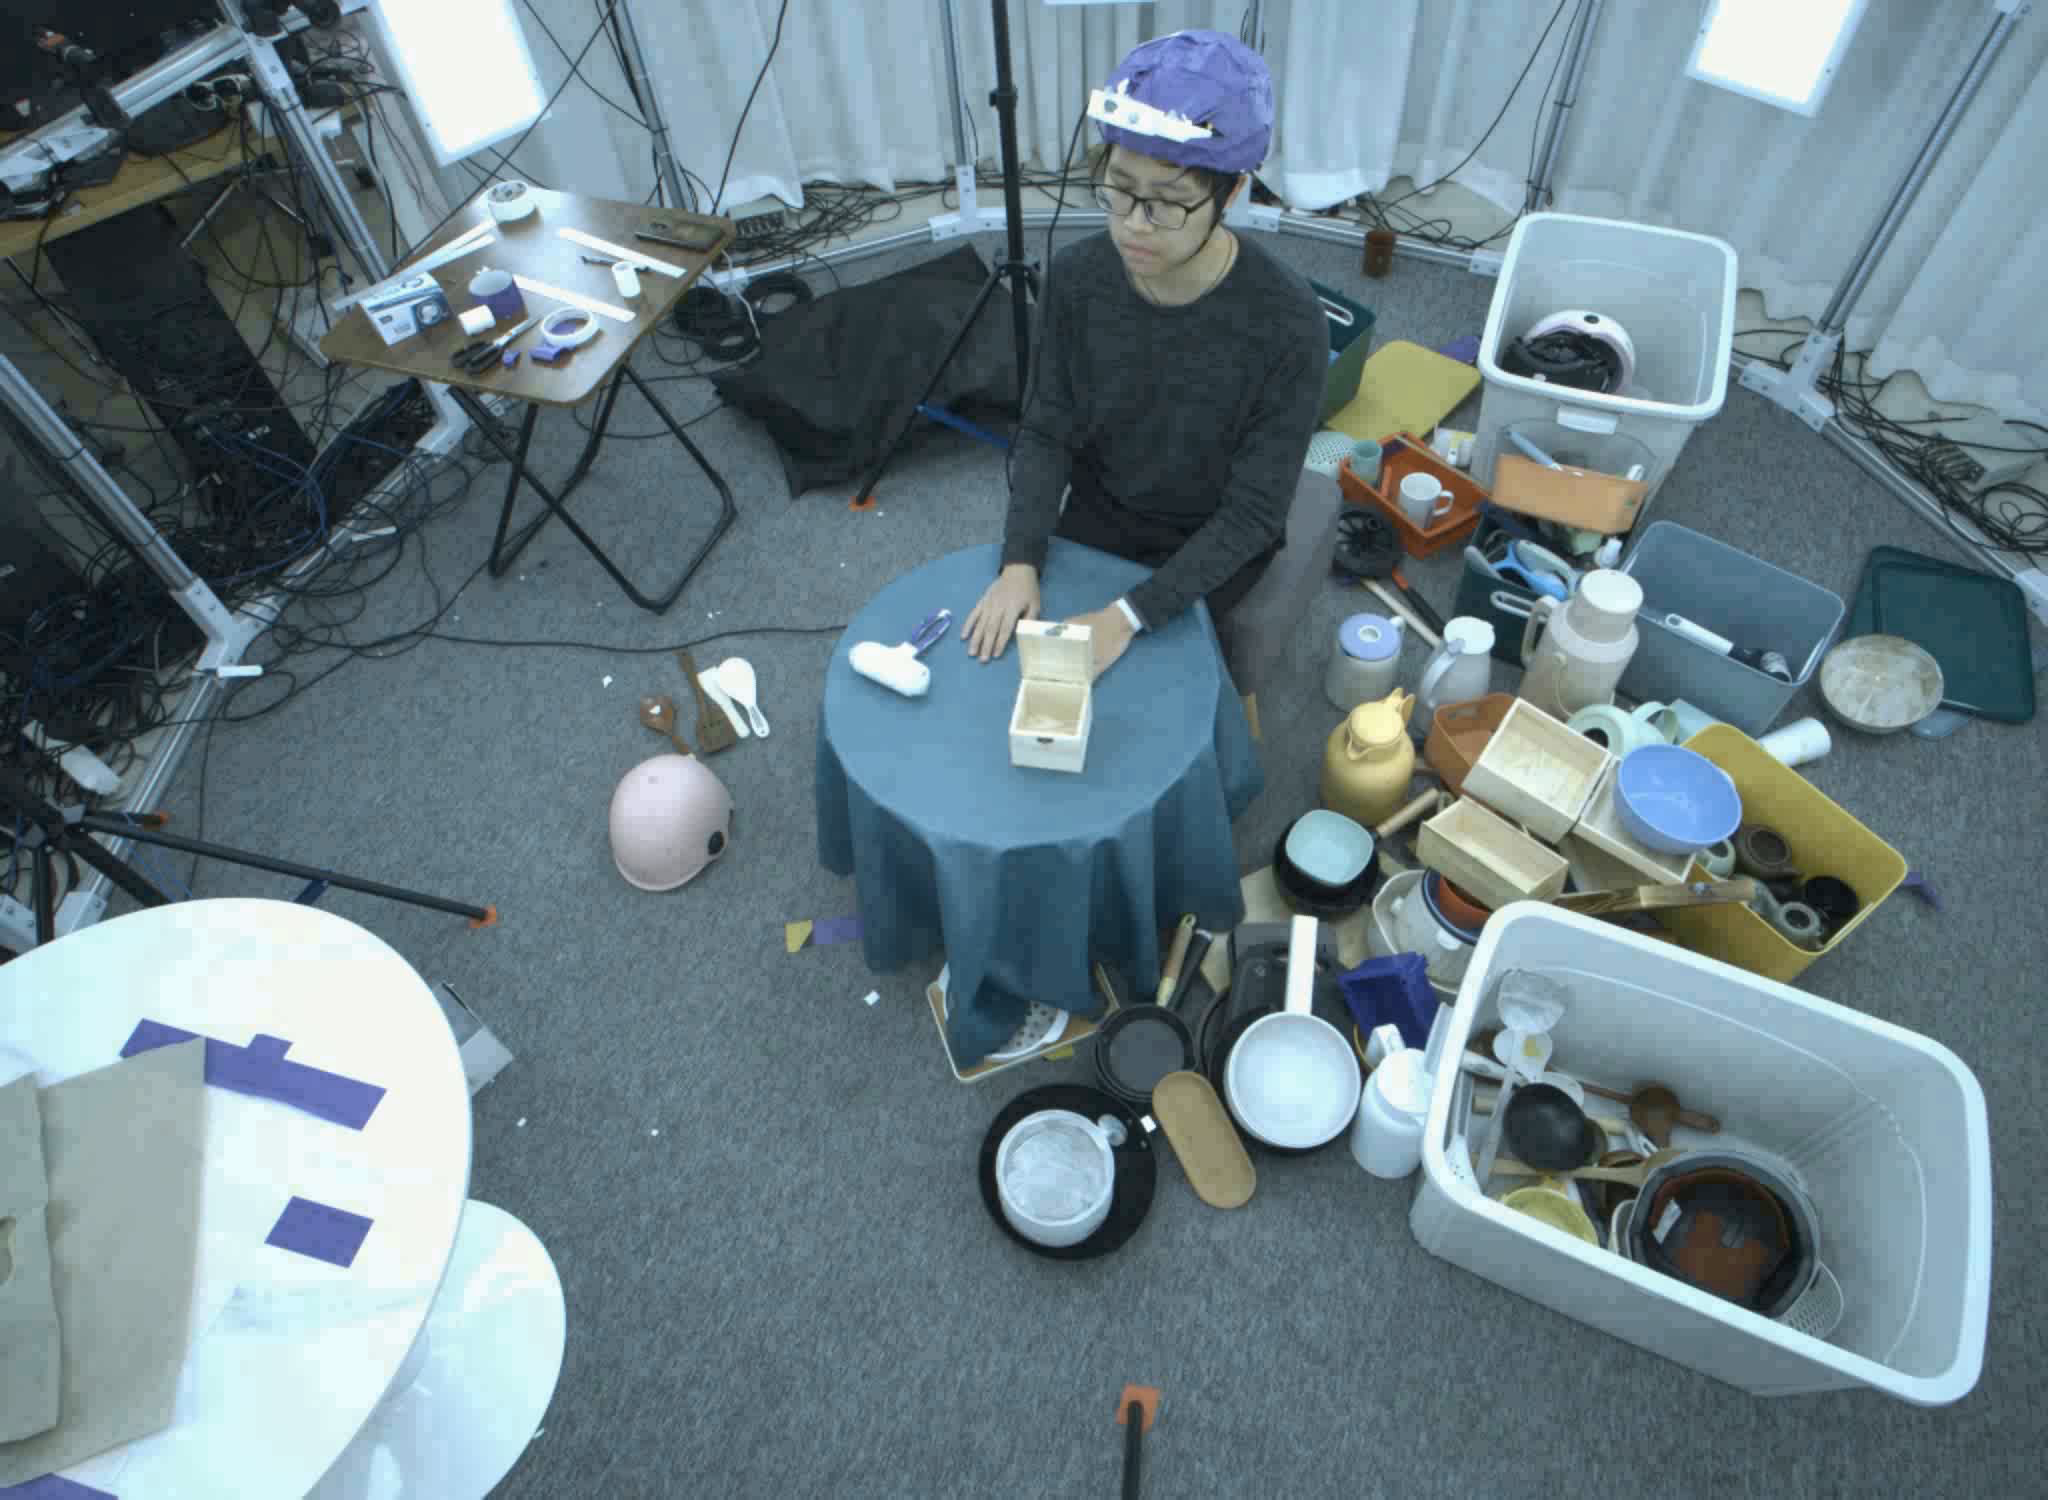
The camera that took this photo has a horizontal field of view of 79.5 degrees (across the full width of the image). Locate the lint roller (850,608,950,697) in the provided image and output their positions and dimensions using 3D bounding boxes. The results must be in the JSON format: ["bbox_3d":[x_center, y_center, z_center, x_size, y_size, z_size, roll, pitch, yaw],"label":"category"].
[{"bbox_3d":[-0.170,-0.167,1.882,0.131,0.051,0.181,27,62,21],"label":"lint roller"}]

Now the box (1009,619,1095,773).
[{"bbox_3d":[0.039,-0.073,1.725,0.102,0.186,0.133,7,55,8],"label":"box"}]
